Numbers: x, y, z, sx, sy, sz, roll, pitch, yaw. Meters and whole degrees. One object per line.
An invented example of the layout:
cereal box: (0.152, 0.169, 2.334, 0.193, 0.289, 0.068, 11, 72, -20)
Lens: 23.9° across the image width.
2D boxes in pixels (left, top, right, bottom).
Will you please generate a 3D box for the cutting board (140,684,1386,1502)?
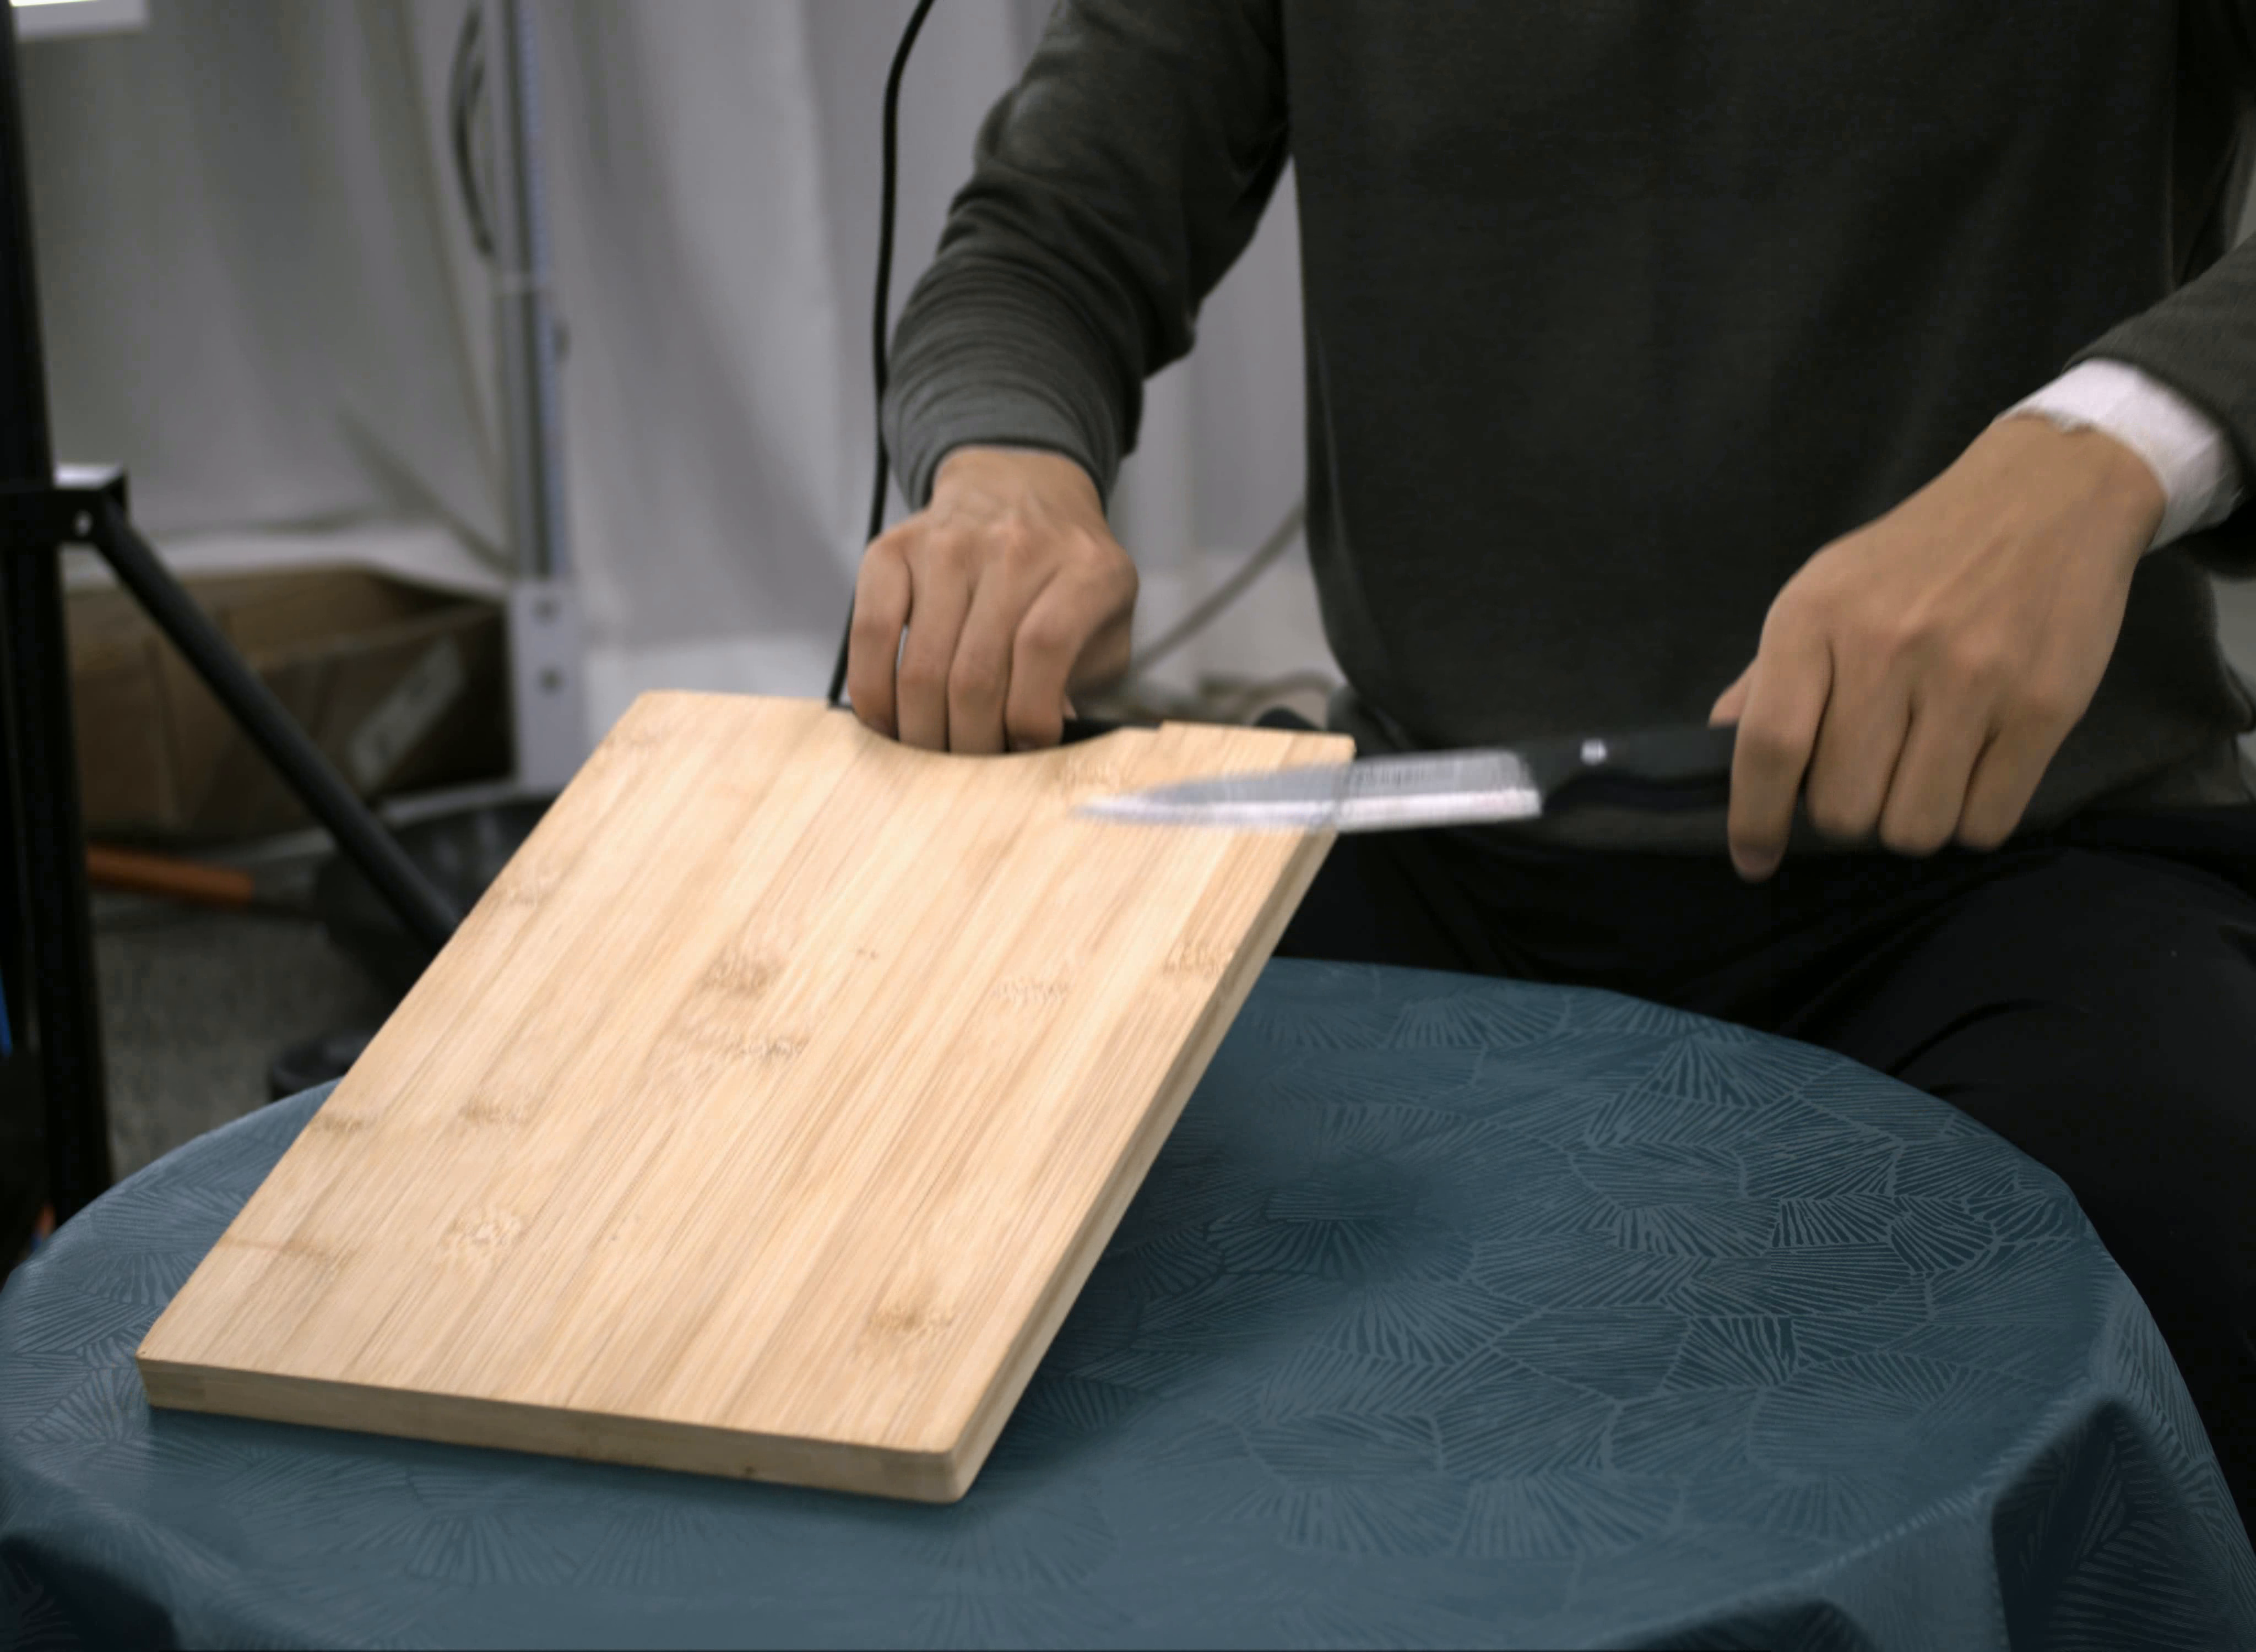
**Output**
cutting board: (-0.094, 0.064, 1.516, 0.254, 0.023, 0.347, 4, 34, 22)

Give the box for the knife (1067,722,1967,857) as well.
knife: (0.101, -0.008, 1.389, 0.237, 0.016, 0.025, -5, 42, -1)
